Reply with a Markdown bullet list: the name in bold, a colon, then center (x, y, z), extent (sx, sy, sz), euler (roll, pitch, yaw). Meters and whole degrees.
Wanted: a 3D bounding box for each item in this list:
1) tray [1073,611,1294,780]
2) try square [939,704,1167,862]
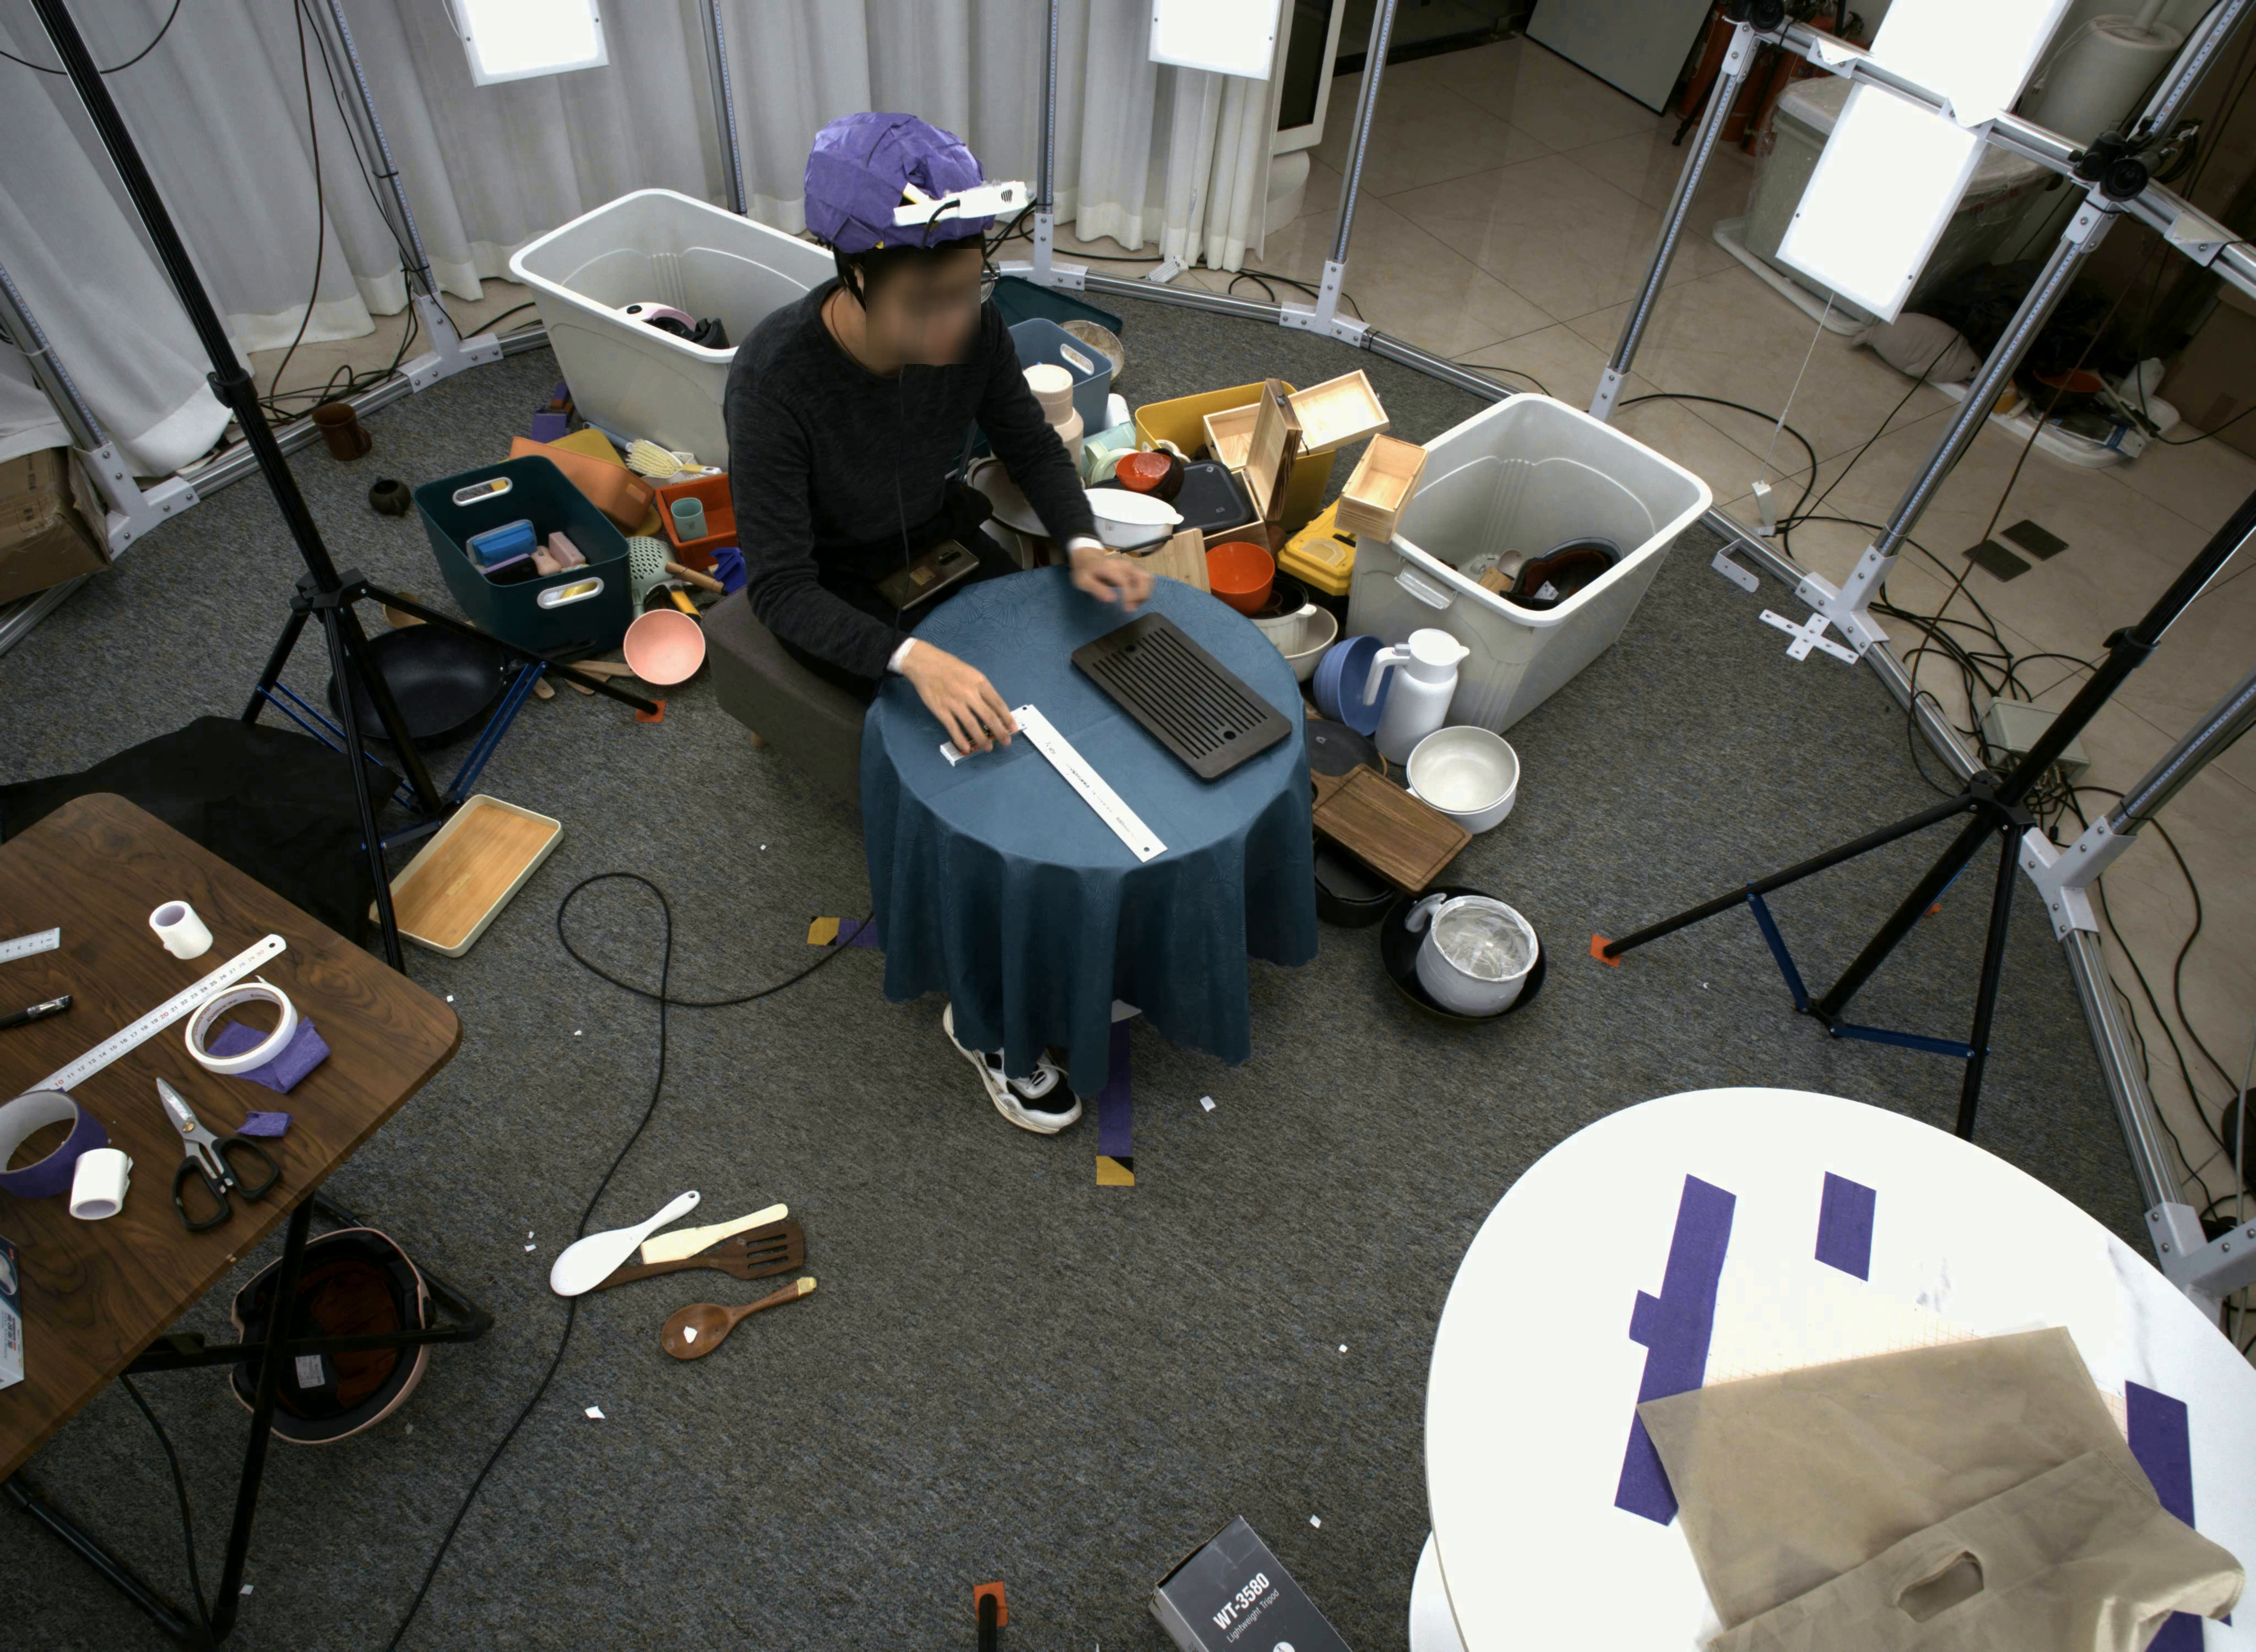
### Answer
- **tray**: center (0.076, -0.190, 1.828), extent (0.171, 0.018, 0.311), euler (-30, 57, -26)
- **try square**: center (-0.103, -0.040, 1.692), extent (0.153, 0.015, 0.319), euler (-27, 57, -25)
